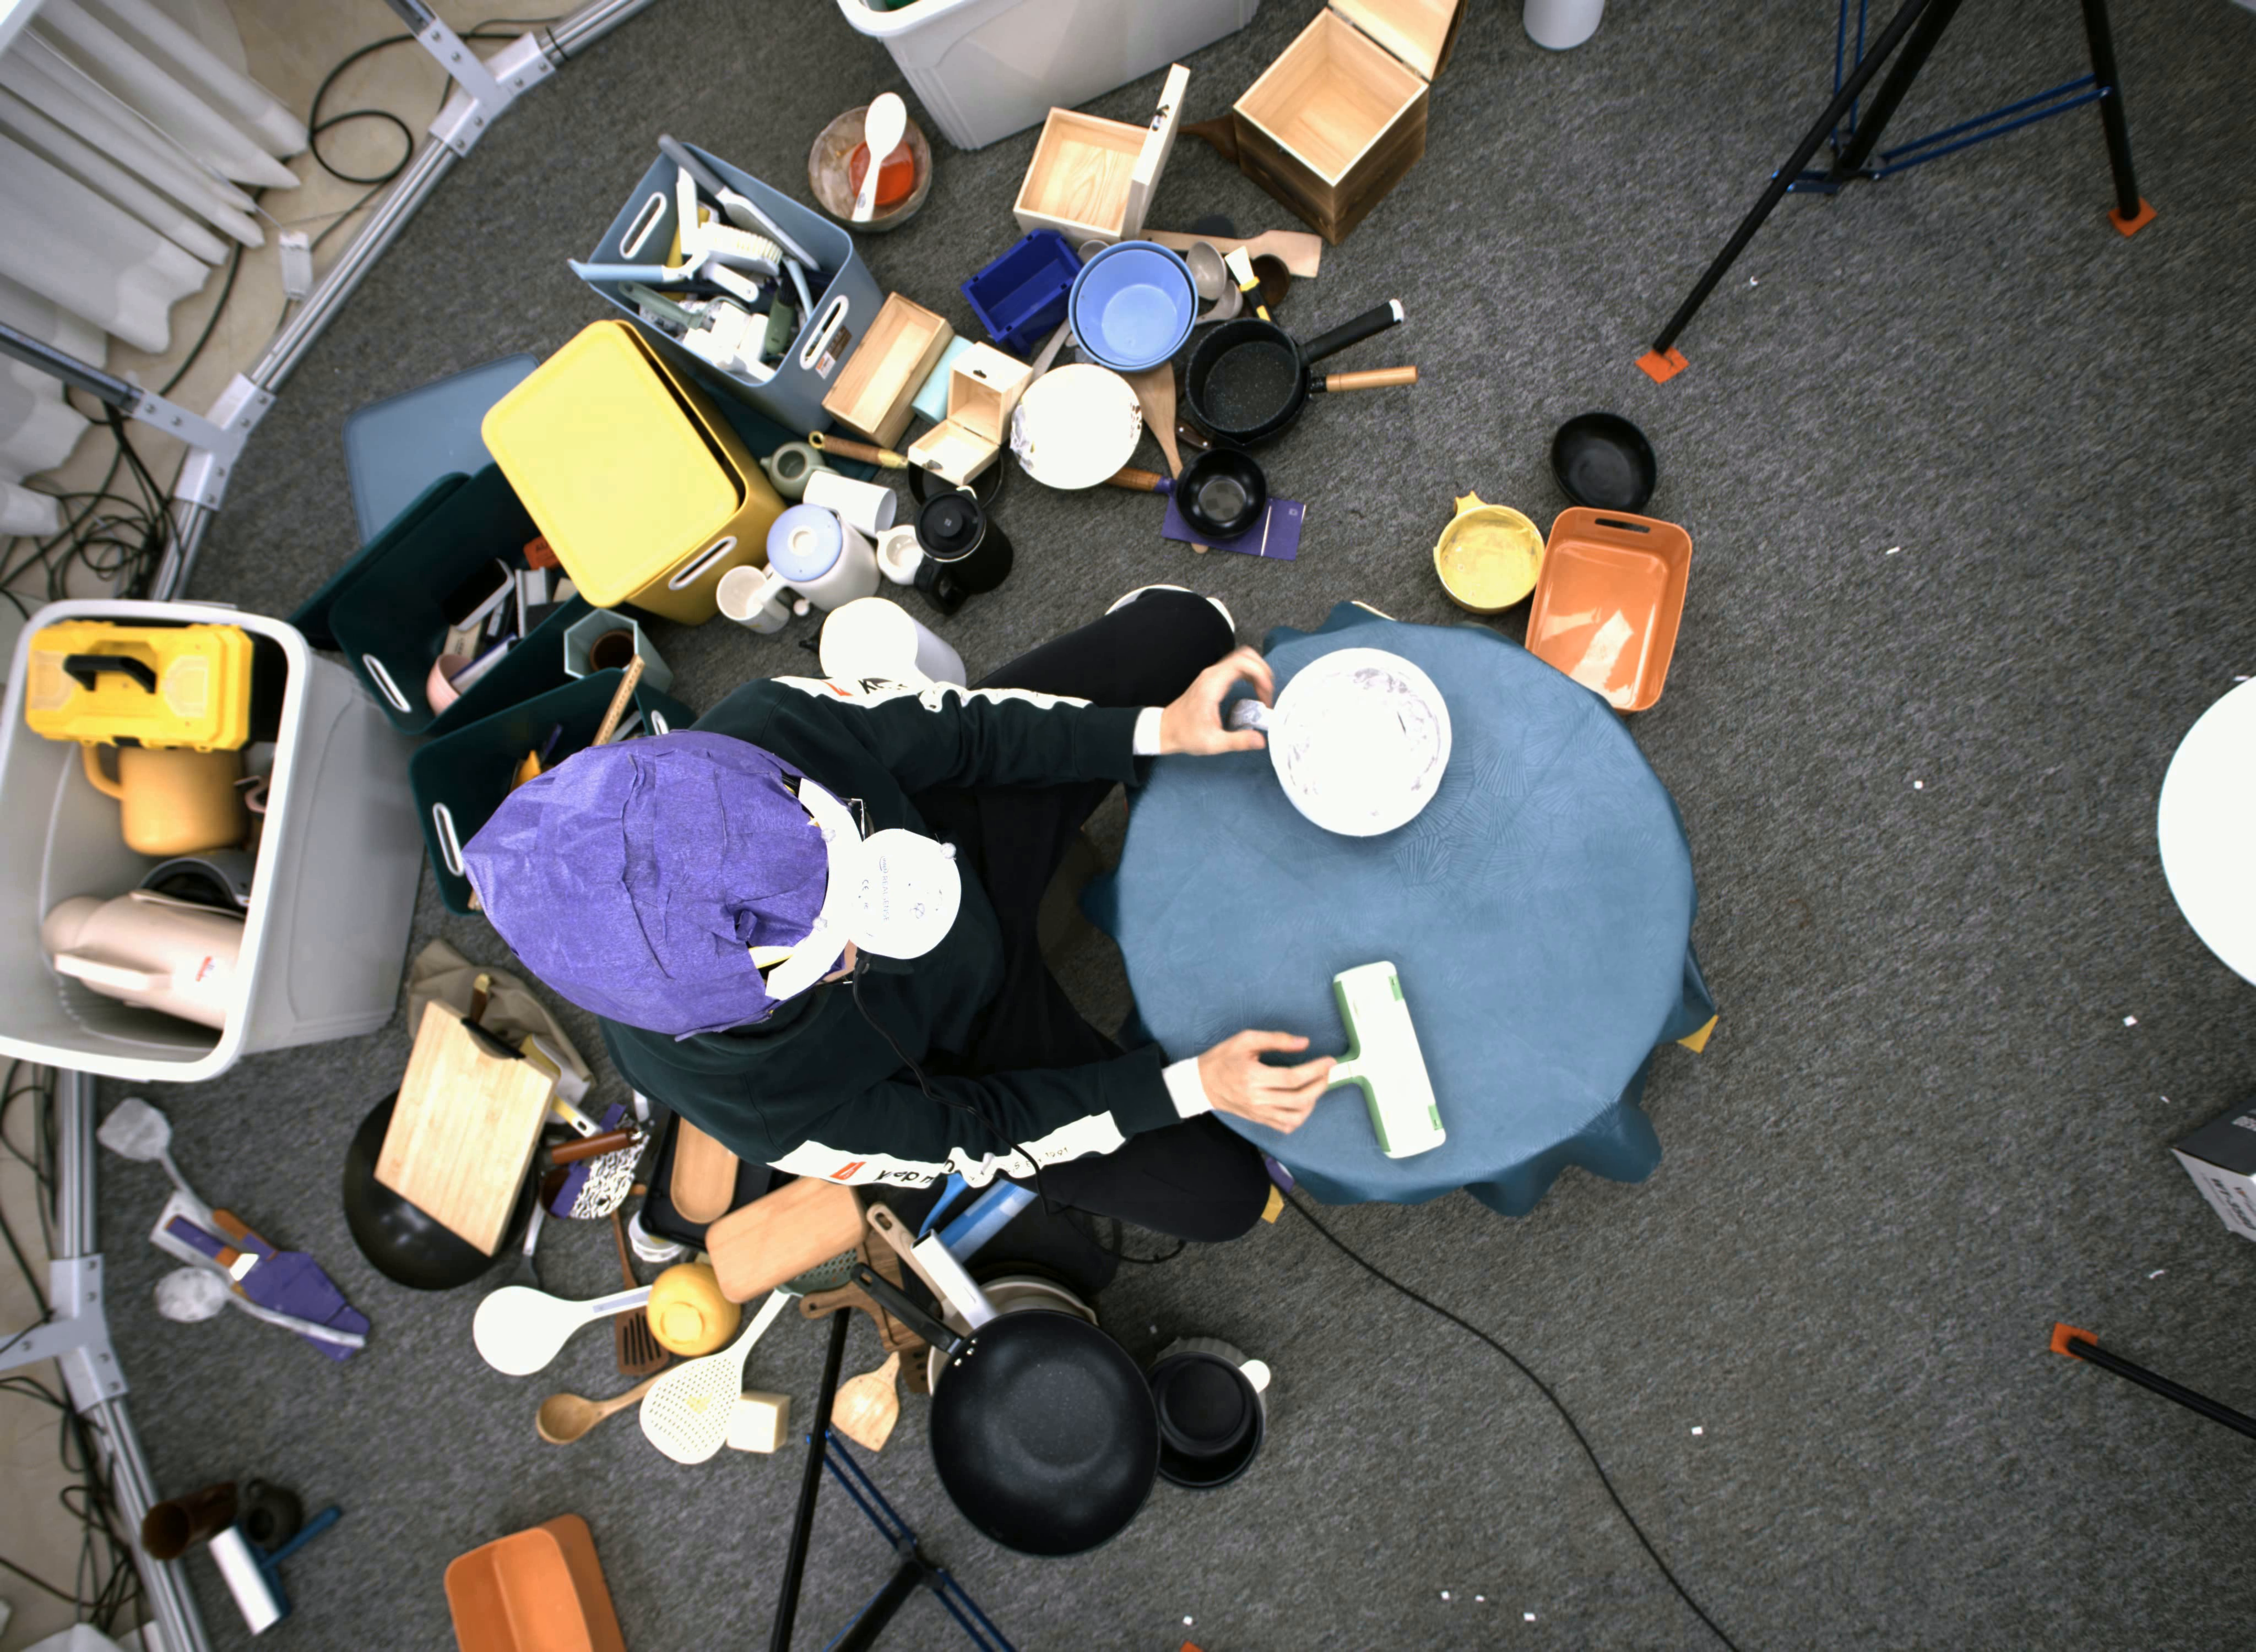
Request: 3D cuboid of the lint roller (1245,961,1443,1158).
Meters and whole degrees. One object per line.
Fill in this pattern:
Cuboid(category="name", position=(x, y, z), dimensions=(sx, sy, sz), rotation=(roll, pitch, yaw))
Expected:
Cuboid(category="lint roller", position=(0.209, 0.253, 1.419), dimensions=(0.184, 0.082, 0.197), rotation=(-16, 84, 4))

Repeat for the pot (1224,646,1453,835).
Cuboid(category="pot", position=(0.209, -0.089, 1.404), dimensions=(0.234, 0.137, 0.178), rotation=(15, 88, 10))
